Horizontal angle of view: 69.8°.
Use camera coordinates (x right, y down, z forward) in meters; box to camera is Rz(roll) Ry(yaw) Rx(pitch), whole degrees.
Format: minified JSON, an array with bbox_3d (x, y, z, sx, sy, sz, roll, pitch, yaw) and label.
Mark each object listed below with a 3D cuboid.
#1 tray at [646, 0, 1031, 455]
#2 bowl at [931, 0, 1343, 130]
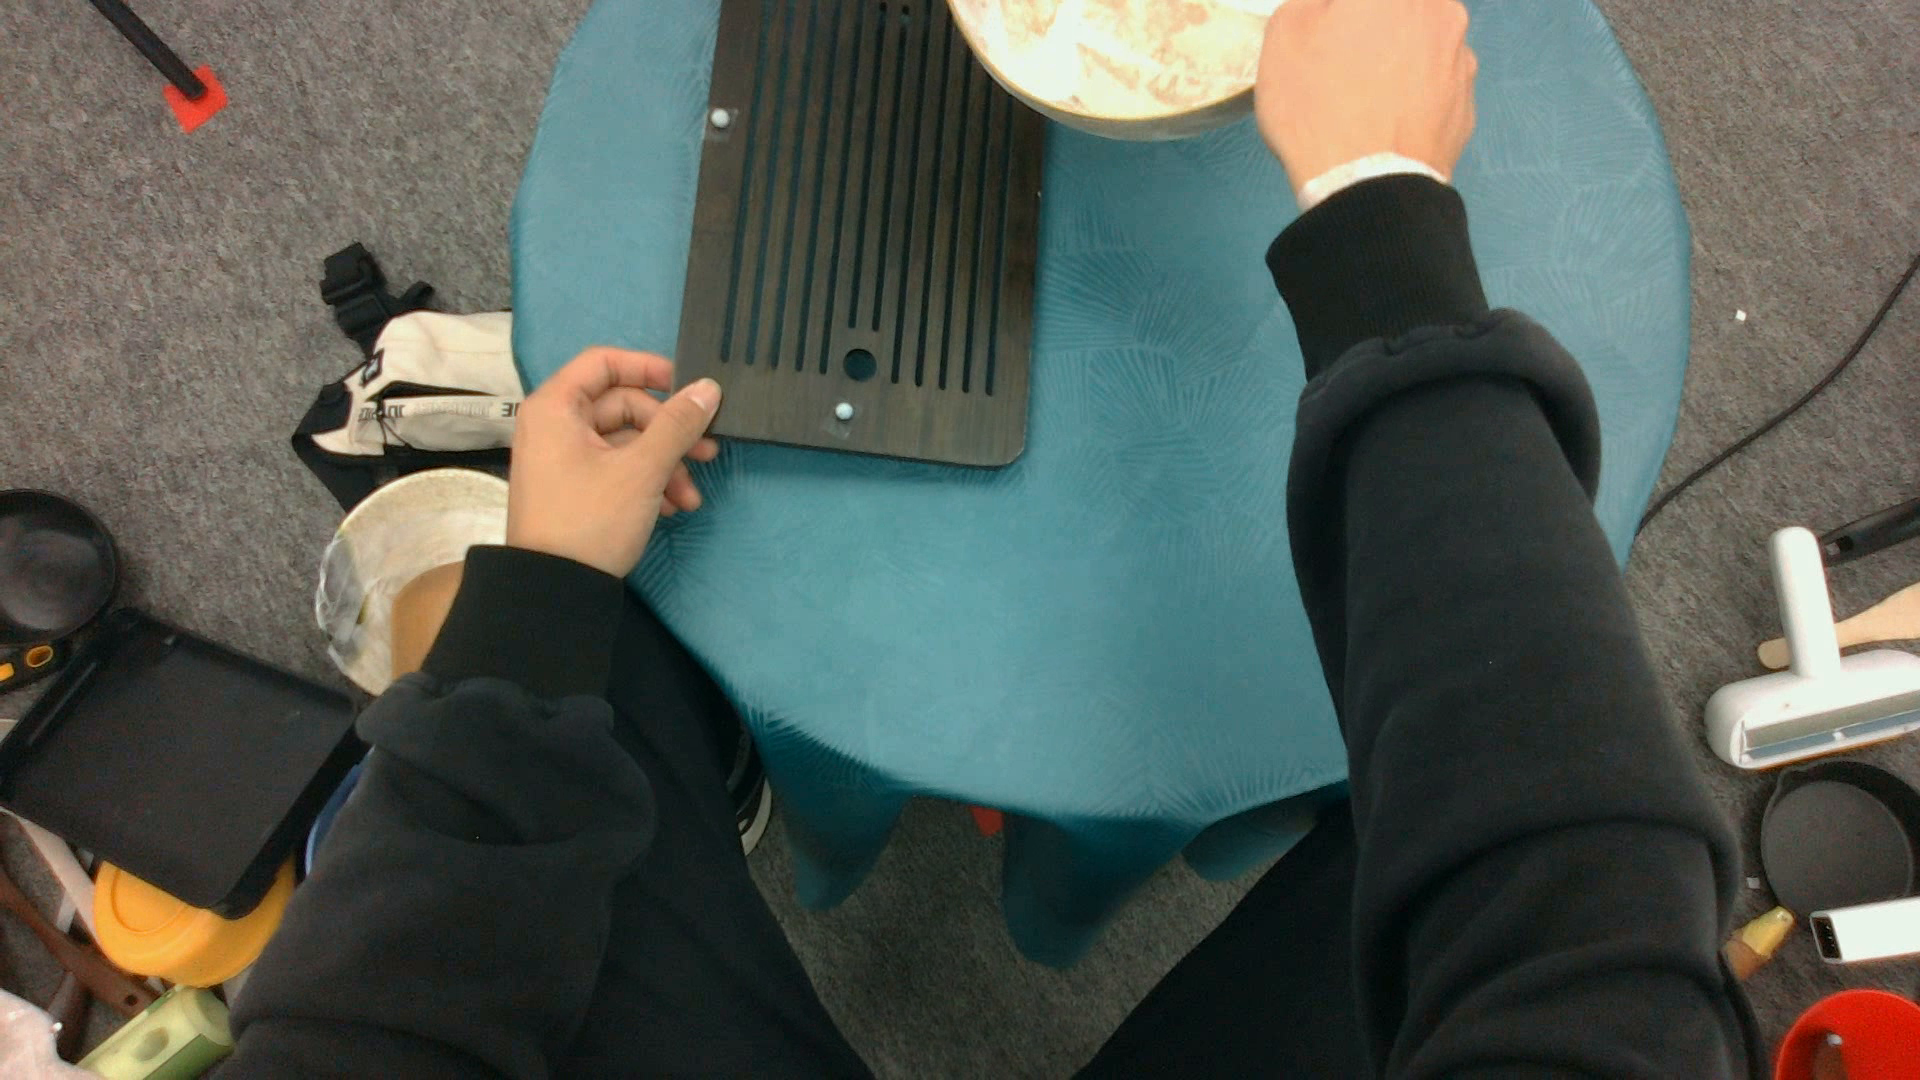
[{"bbox_3d":[-0.054,-0.194,0.693,0.170,0.018,0.306,6,75,-7],"label":"tray"},{"bbox_3d":[0.086,-0.269,0.609,0.214,0.094,0.215,-2,84,19],"label":"bowl"}]
